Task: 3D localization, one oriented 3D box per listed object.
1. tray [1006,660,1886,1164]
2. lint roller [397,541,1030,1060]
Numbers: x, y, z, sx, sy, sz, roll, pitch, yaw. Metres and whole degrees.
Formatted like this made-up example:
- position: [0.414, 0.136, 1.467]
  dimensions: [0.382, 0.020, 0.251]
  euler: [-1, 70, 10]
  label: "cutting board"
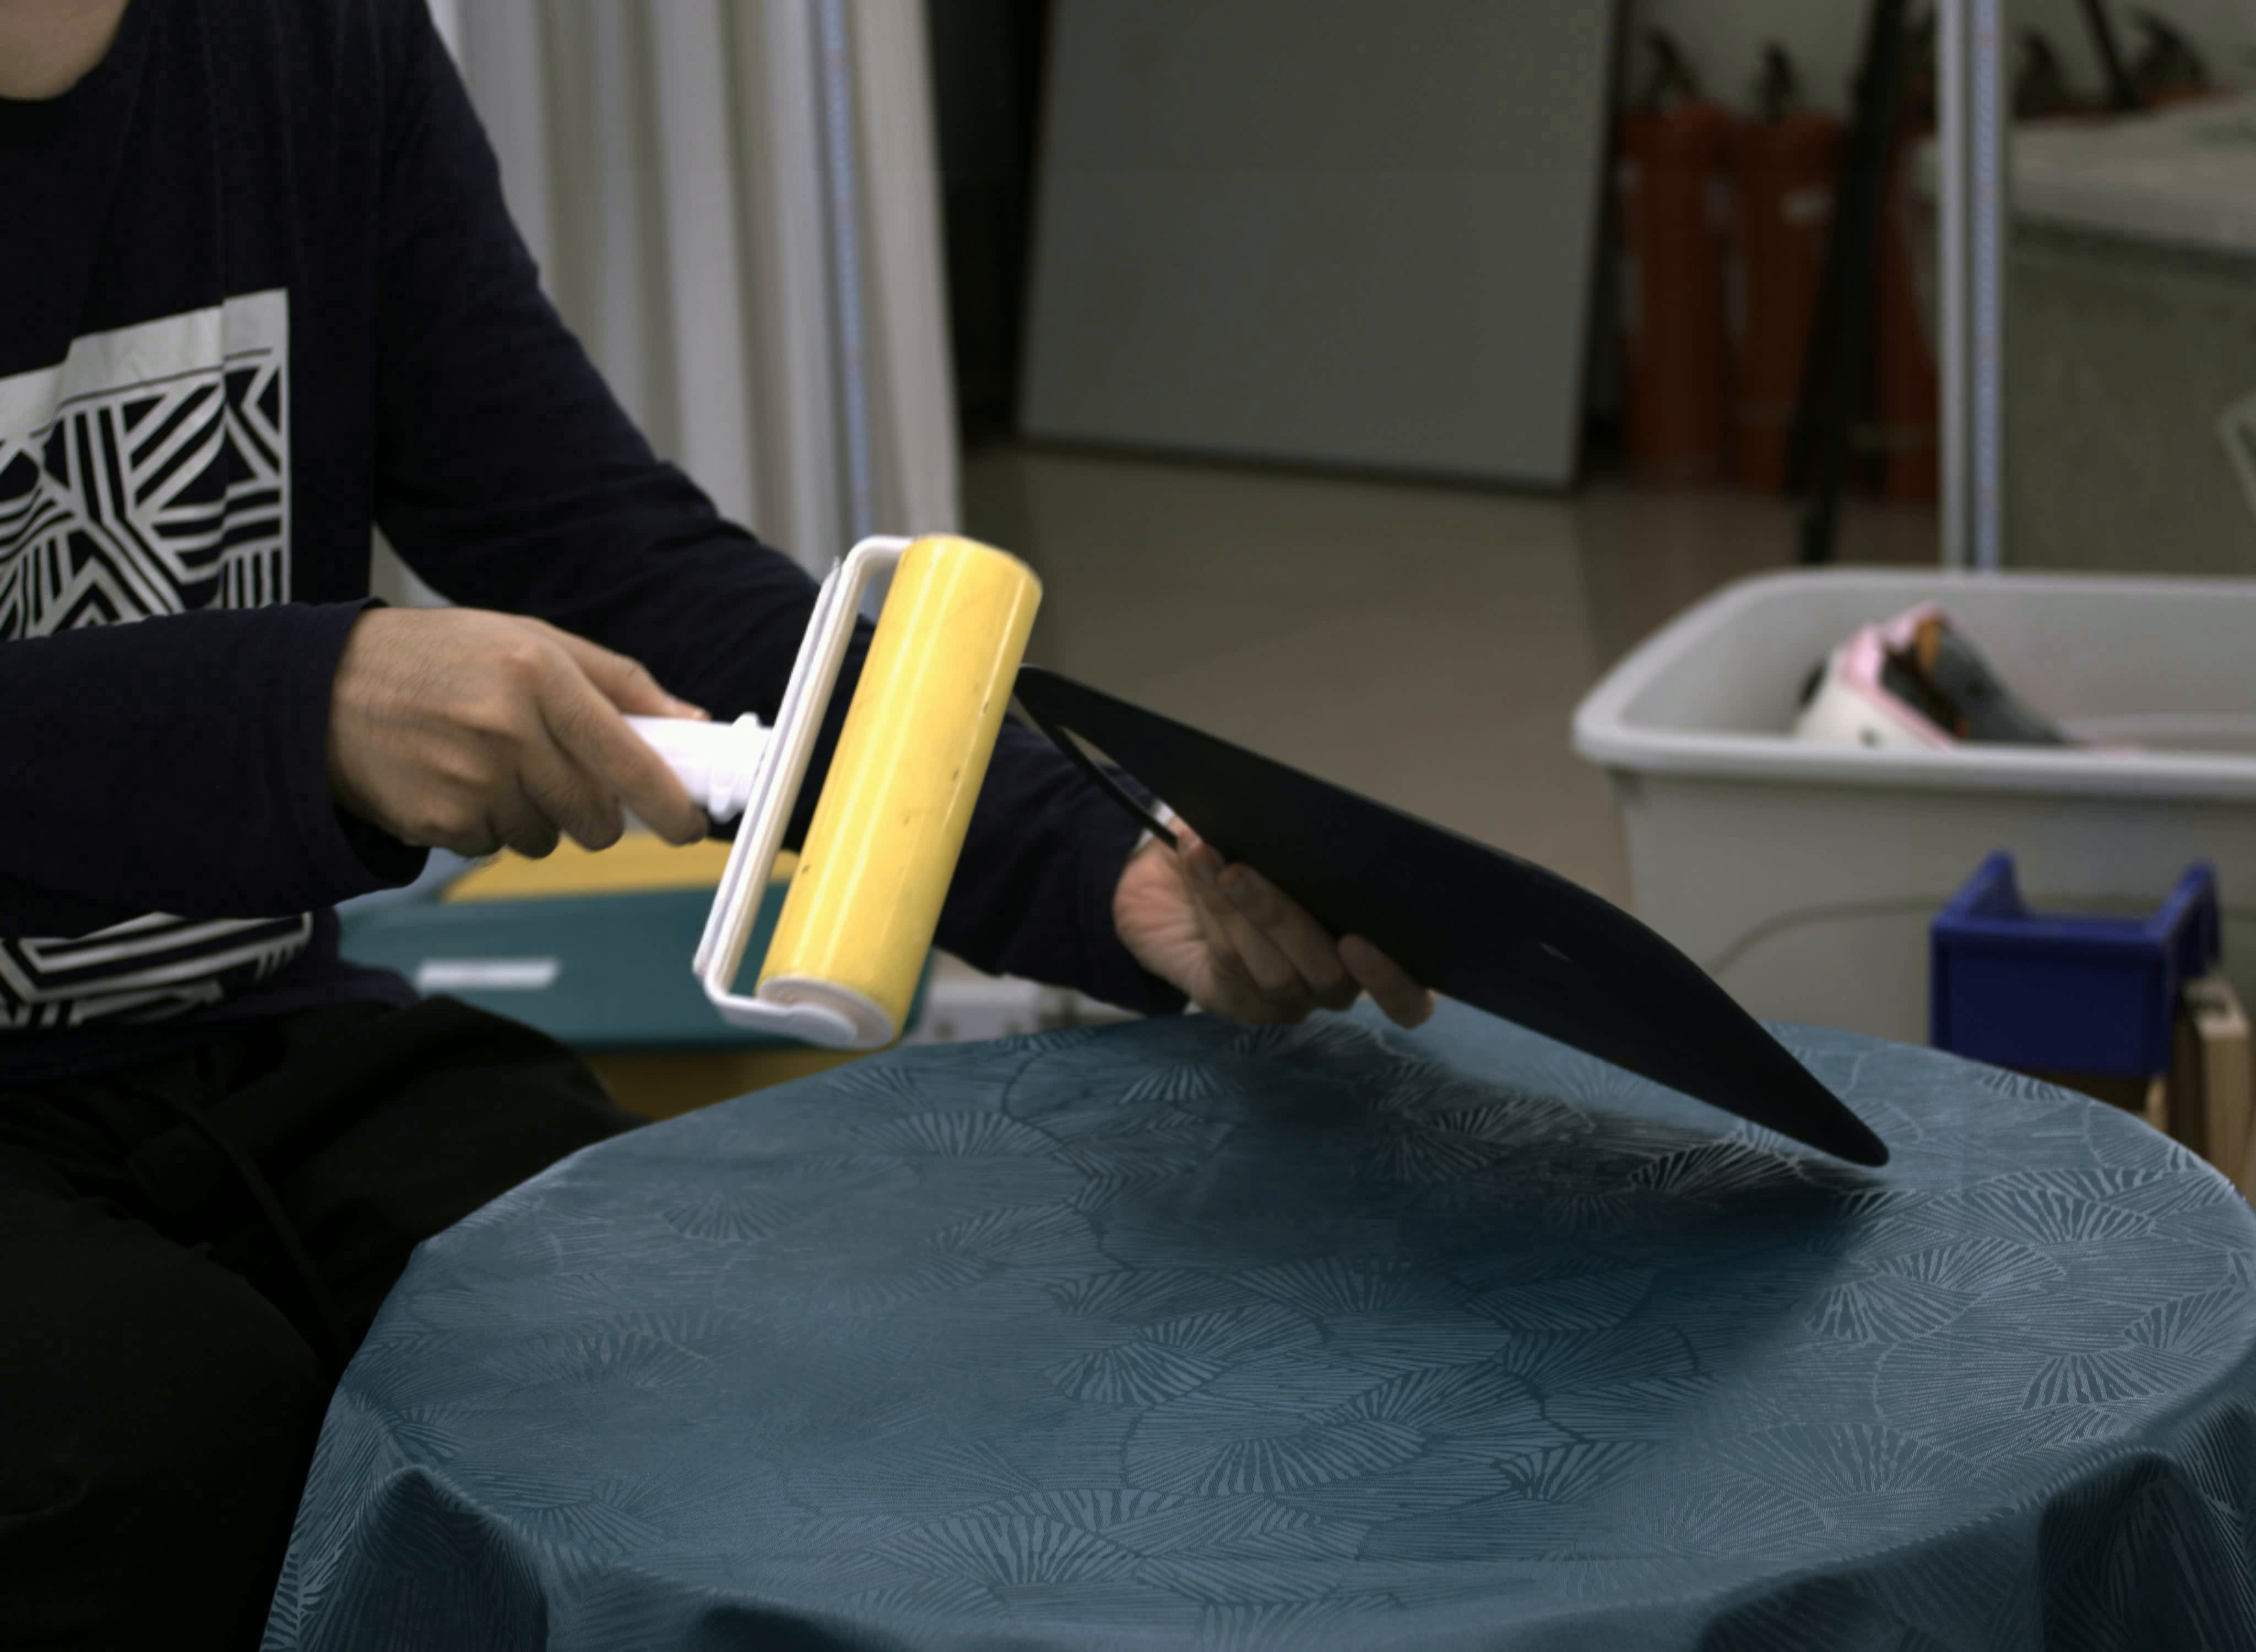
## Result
- position: [0.095, 0.023, 1.766]
  dimensions: [0.329, 0.010, 0.208]
  euler: [22, -14, 46]
  label: "tray"
- position: [-0.141, -0.020, 1.691]
  dimensions: [0.191, 0.175, 0.051]
  euler: [10, -29, 12]
  label: "lint roller"
